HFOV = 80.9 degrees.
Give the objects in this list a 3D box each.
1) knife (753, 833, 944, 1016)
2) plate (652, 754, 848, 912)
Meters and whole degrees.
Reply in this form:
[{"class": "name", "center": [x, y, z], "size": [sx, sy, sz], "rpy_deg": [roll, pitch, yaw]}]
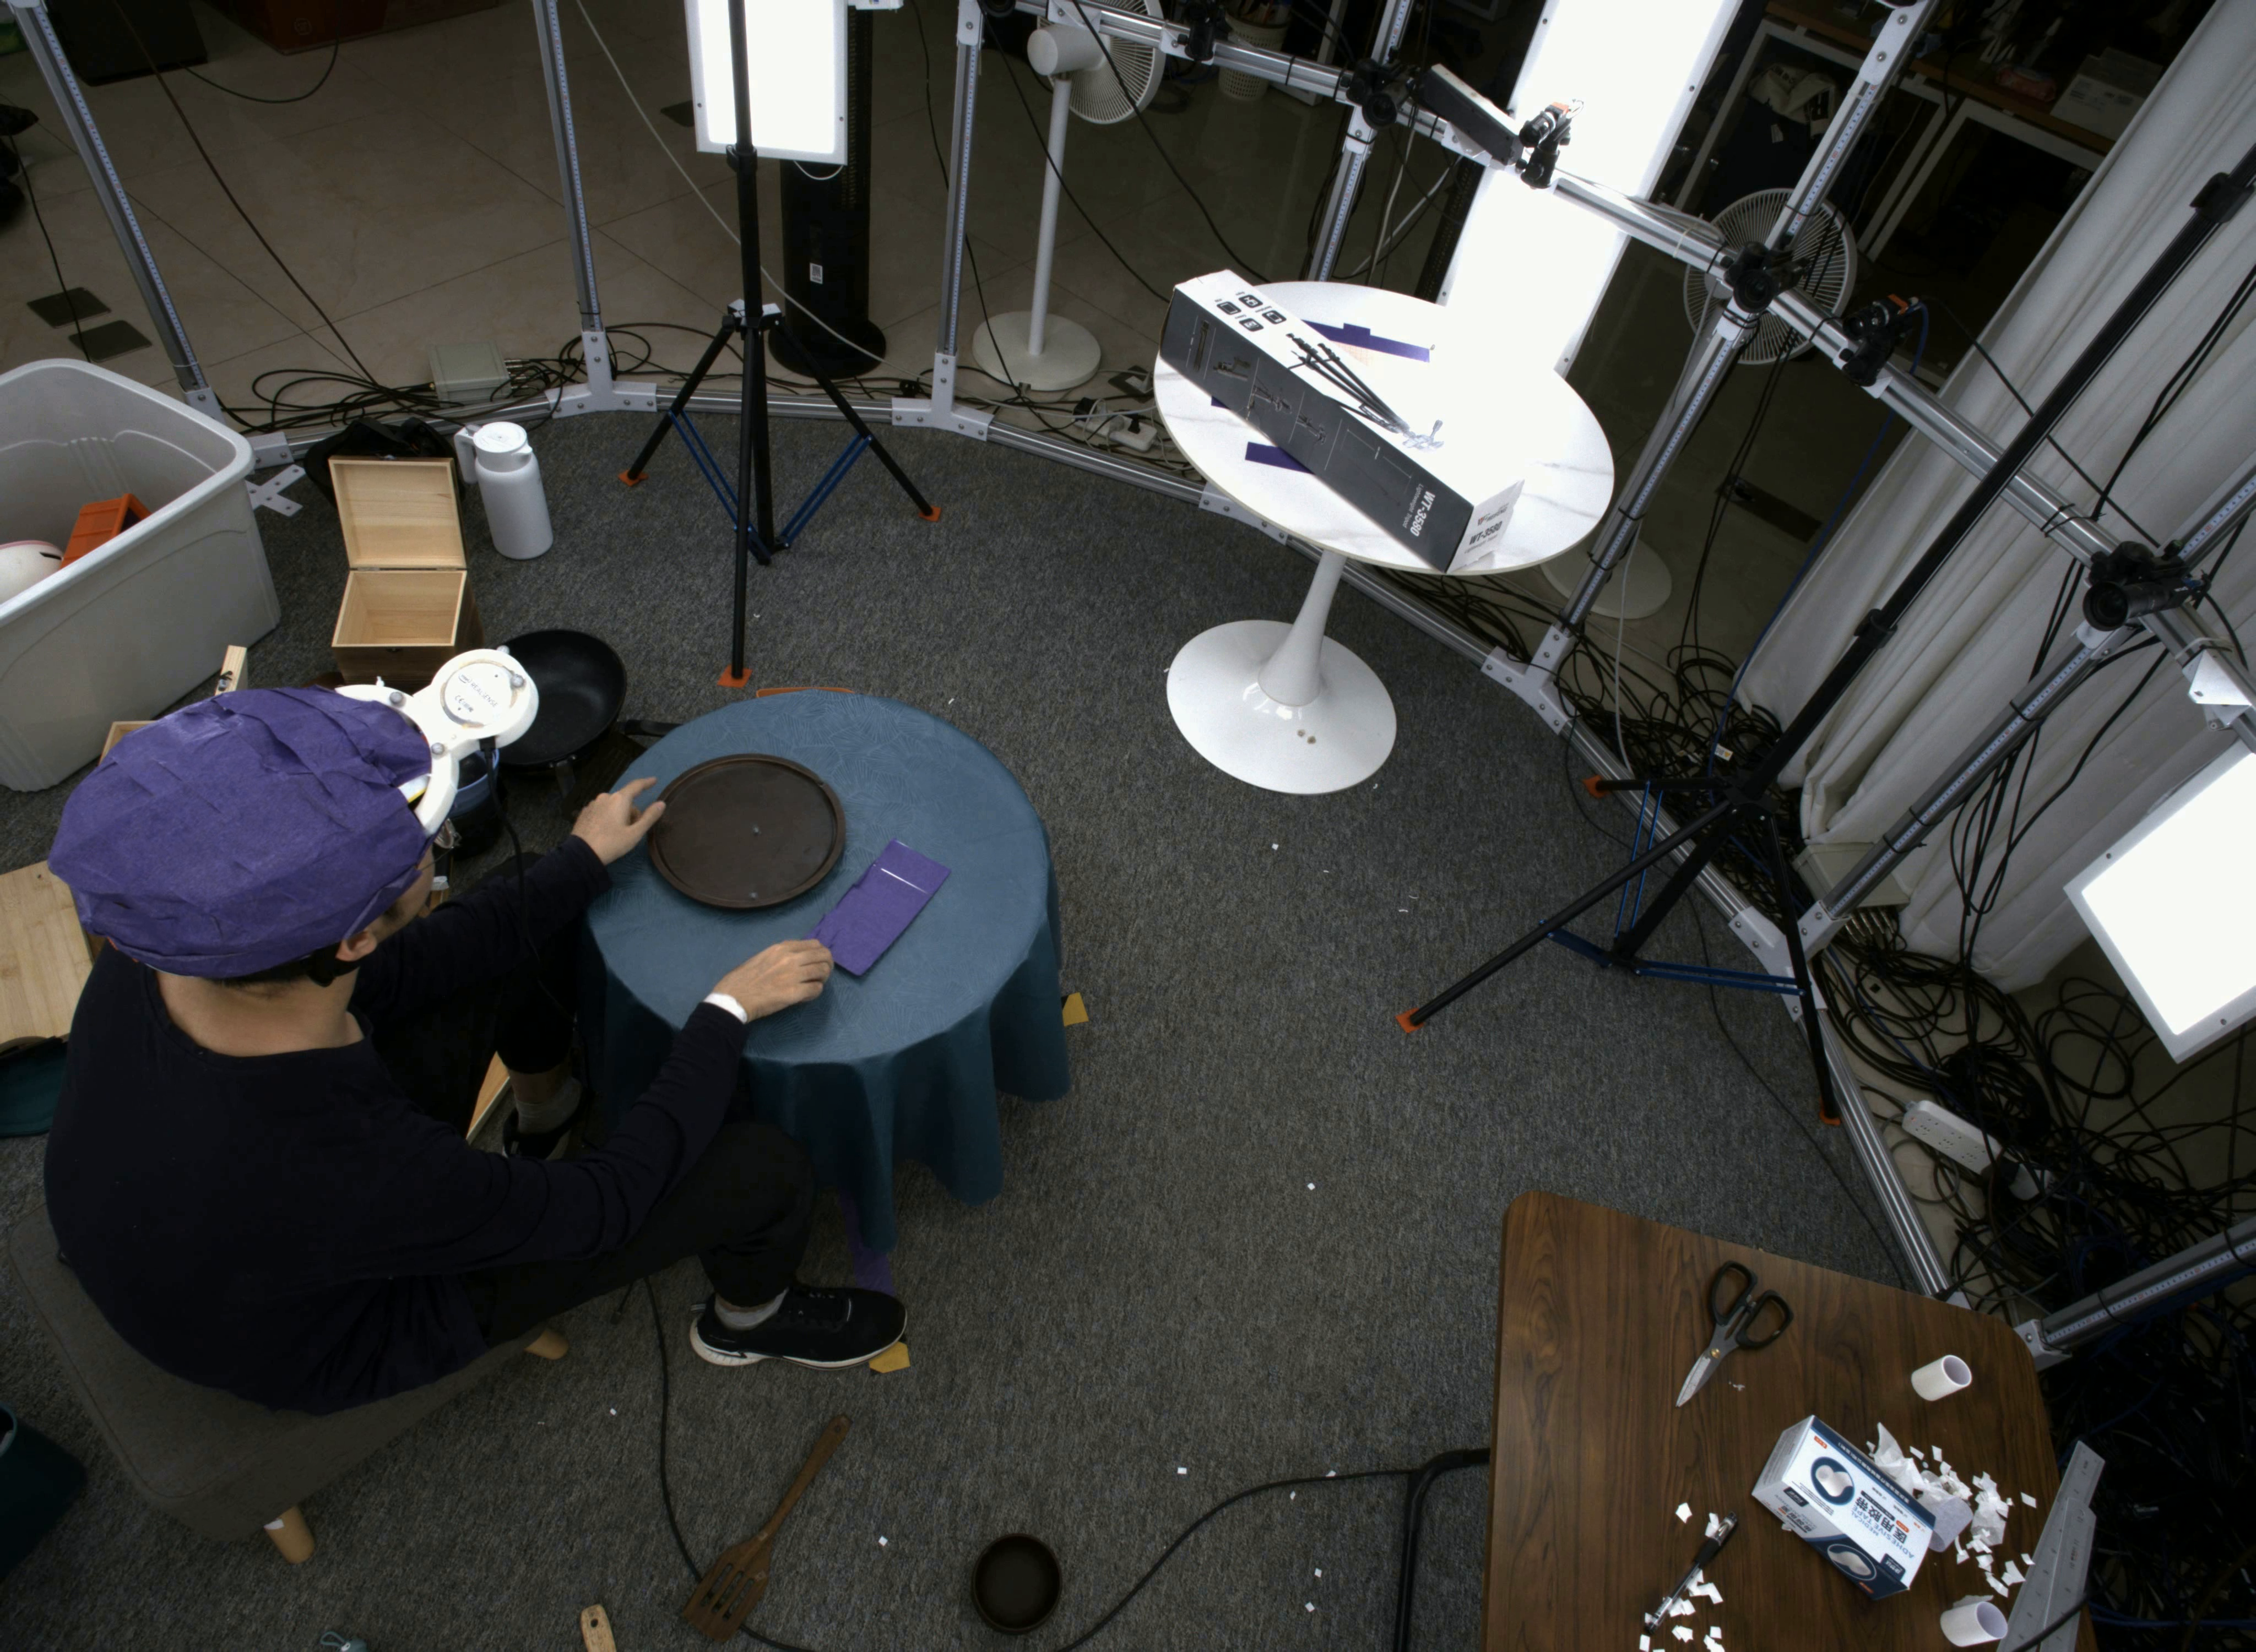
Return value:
[{"class": "knife", "center": [-0.344, 0.128, 1.643], "size": [0.102, 0.033, 0.314], "rpy_deg": [28, 52, 8]}, {"class": "plate", "center": [-0.495, 0.006, 1.697], "size": [0.254, 0.029, 0.250], "rpy_deg": [8, 52, -9]}]
